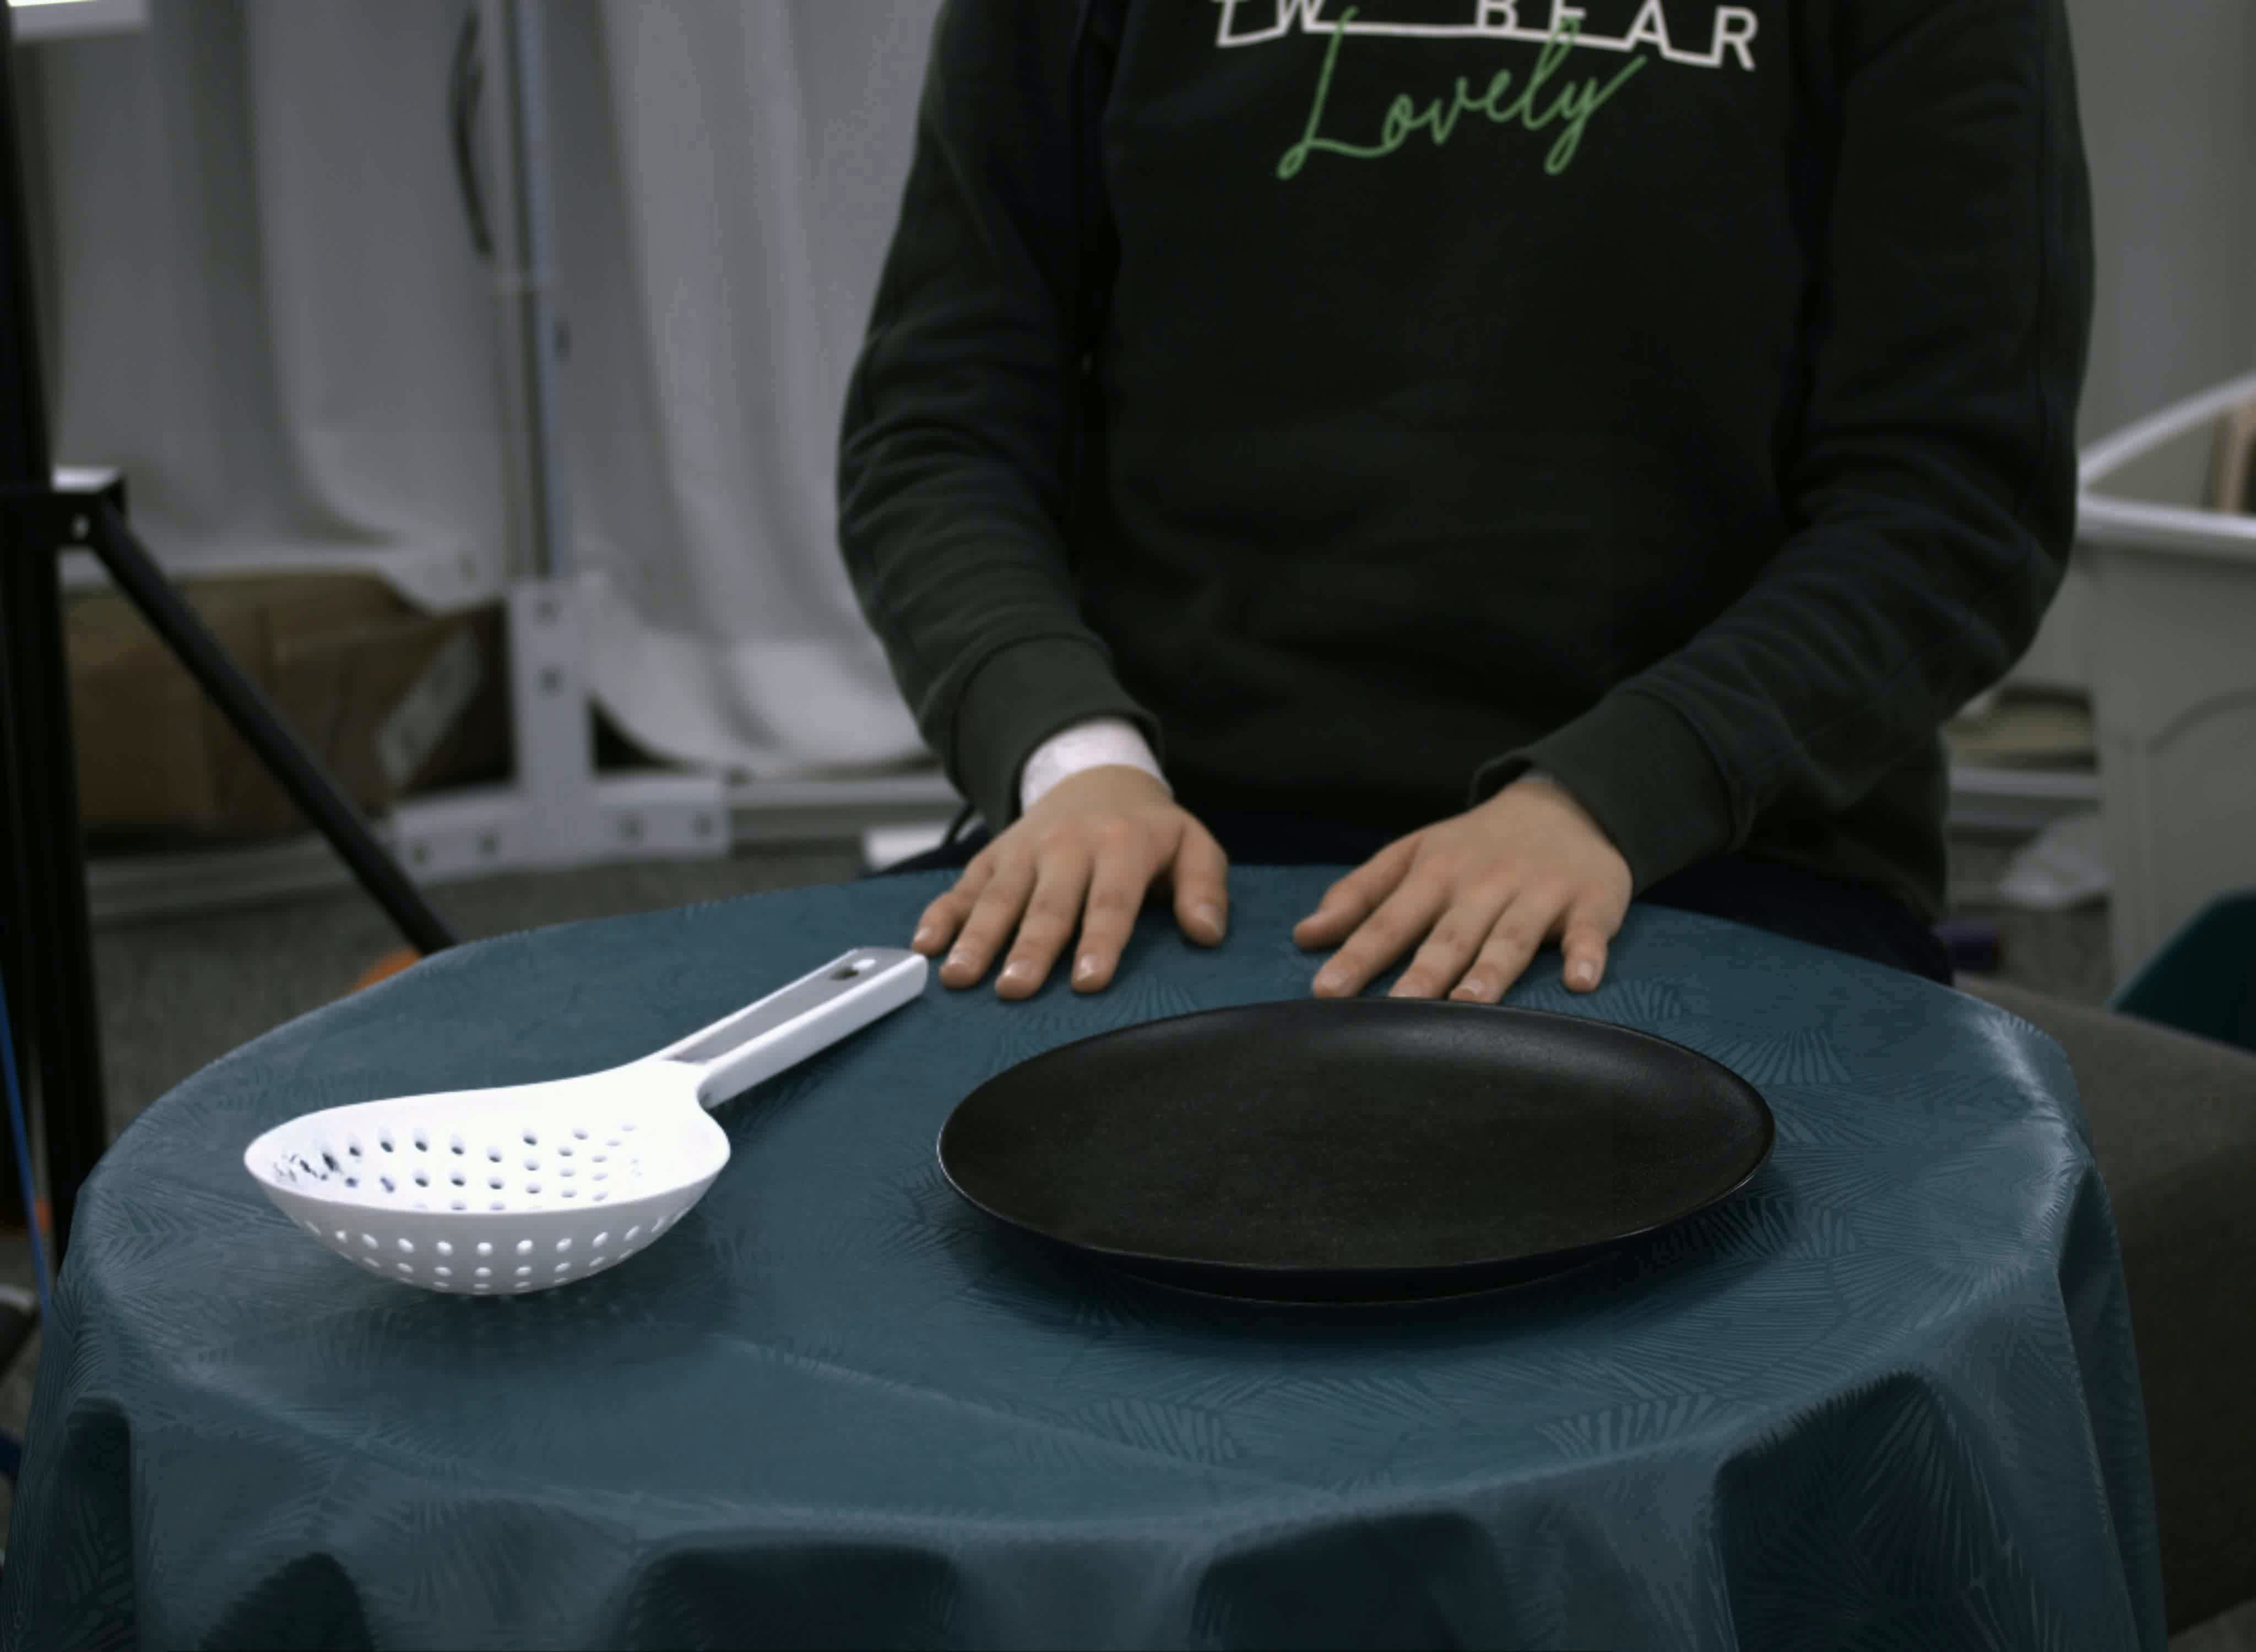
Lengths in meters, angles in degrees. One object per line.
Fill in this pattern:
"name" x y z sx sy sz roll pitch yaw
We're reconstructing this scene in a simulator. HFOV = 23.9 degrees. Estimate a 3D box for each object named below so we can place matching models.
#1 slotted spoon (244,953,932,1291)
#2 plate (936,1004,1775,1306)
"slotted spoon" -0.141 0.079 1.600 0.138 0.046 0.345 6 17 22
"plate" 0.066 0.098 1.541 0.243 0.023 0.245 -3 15 -1
